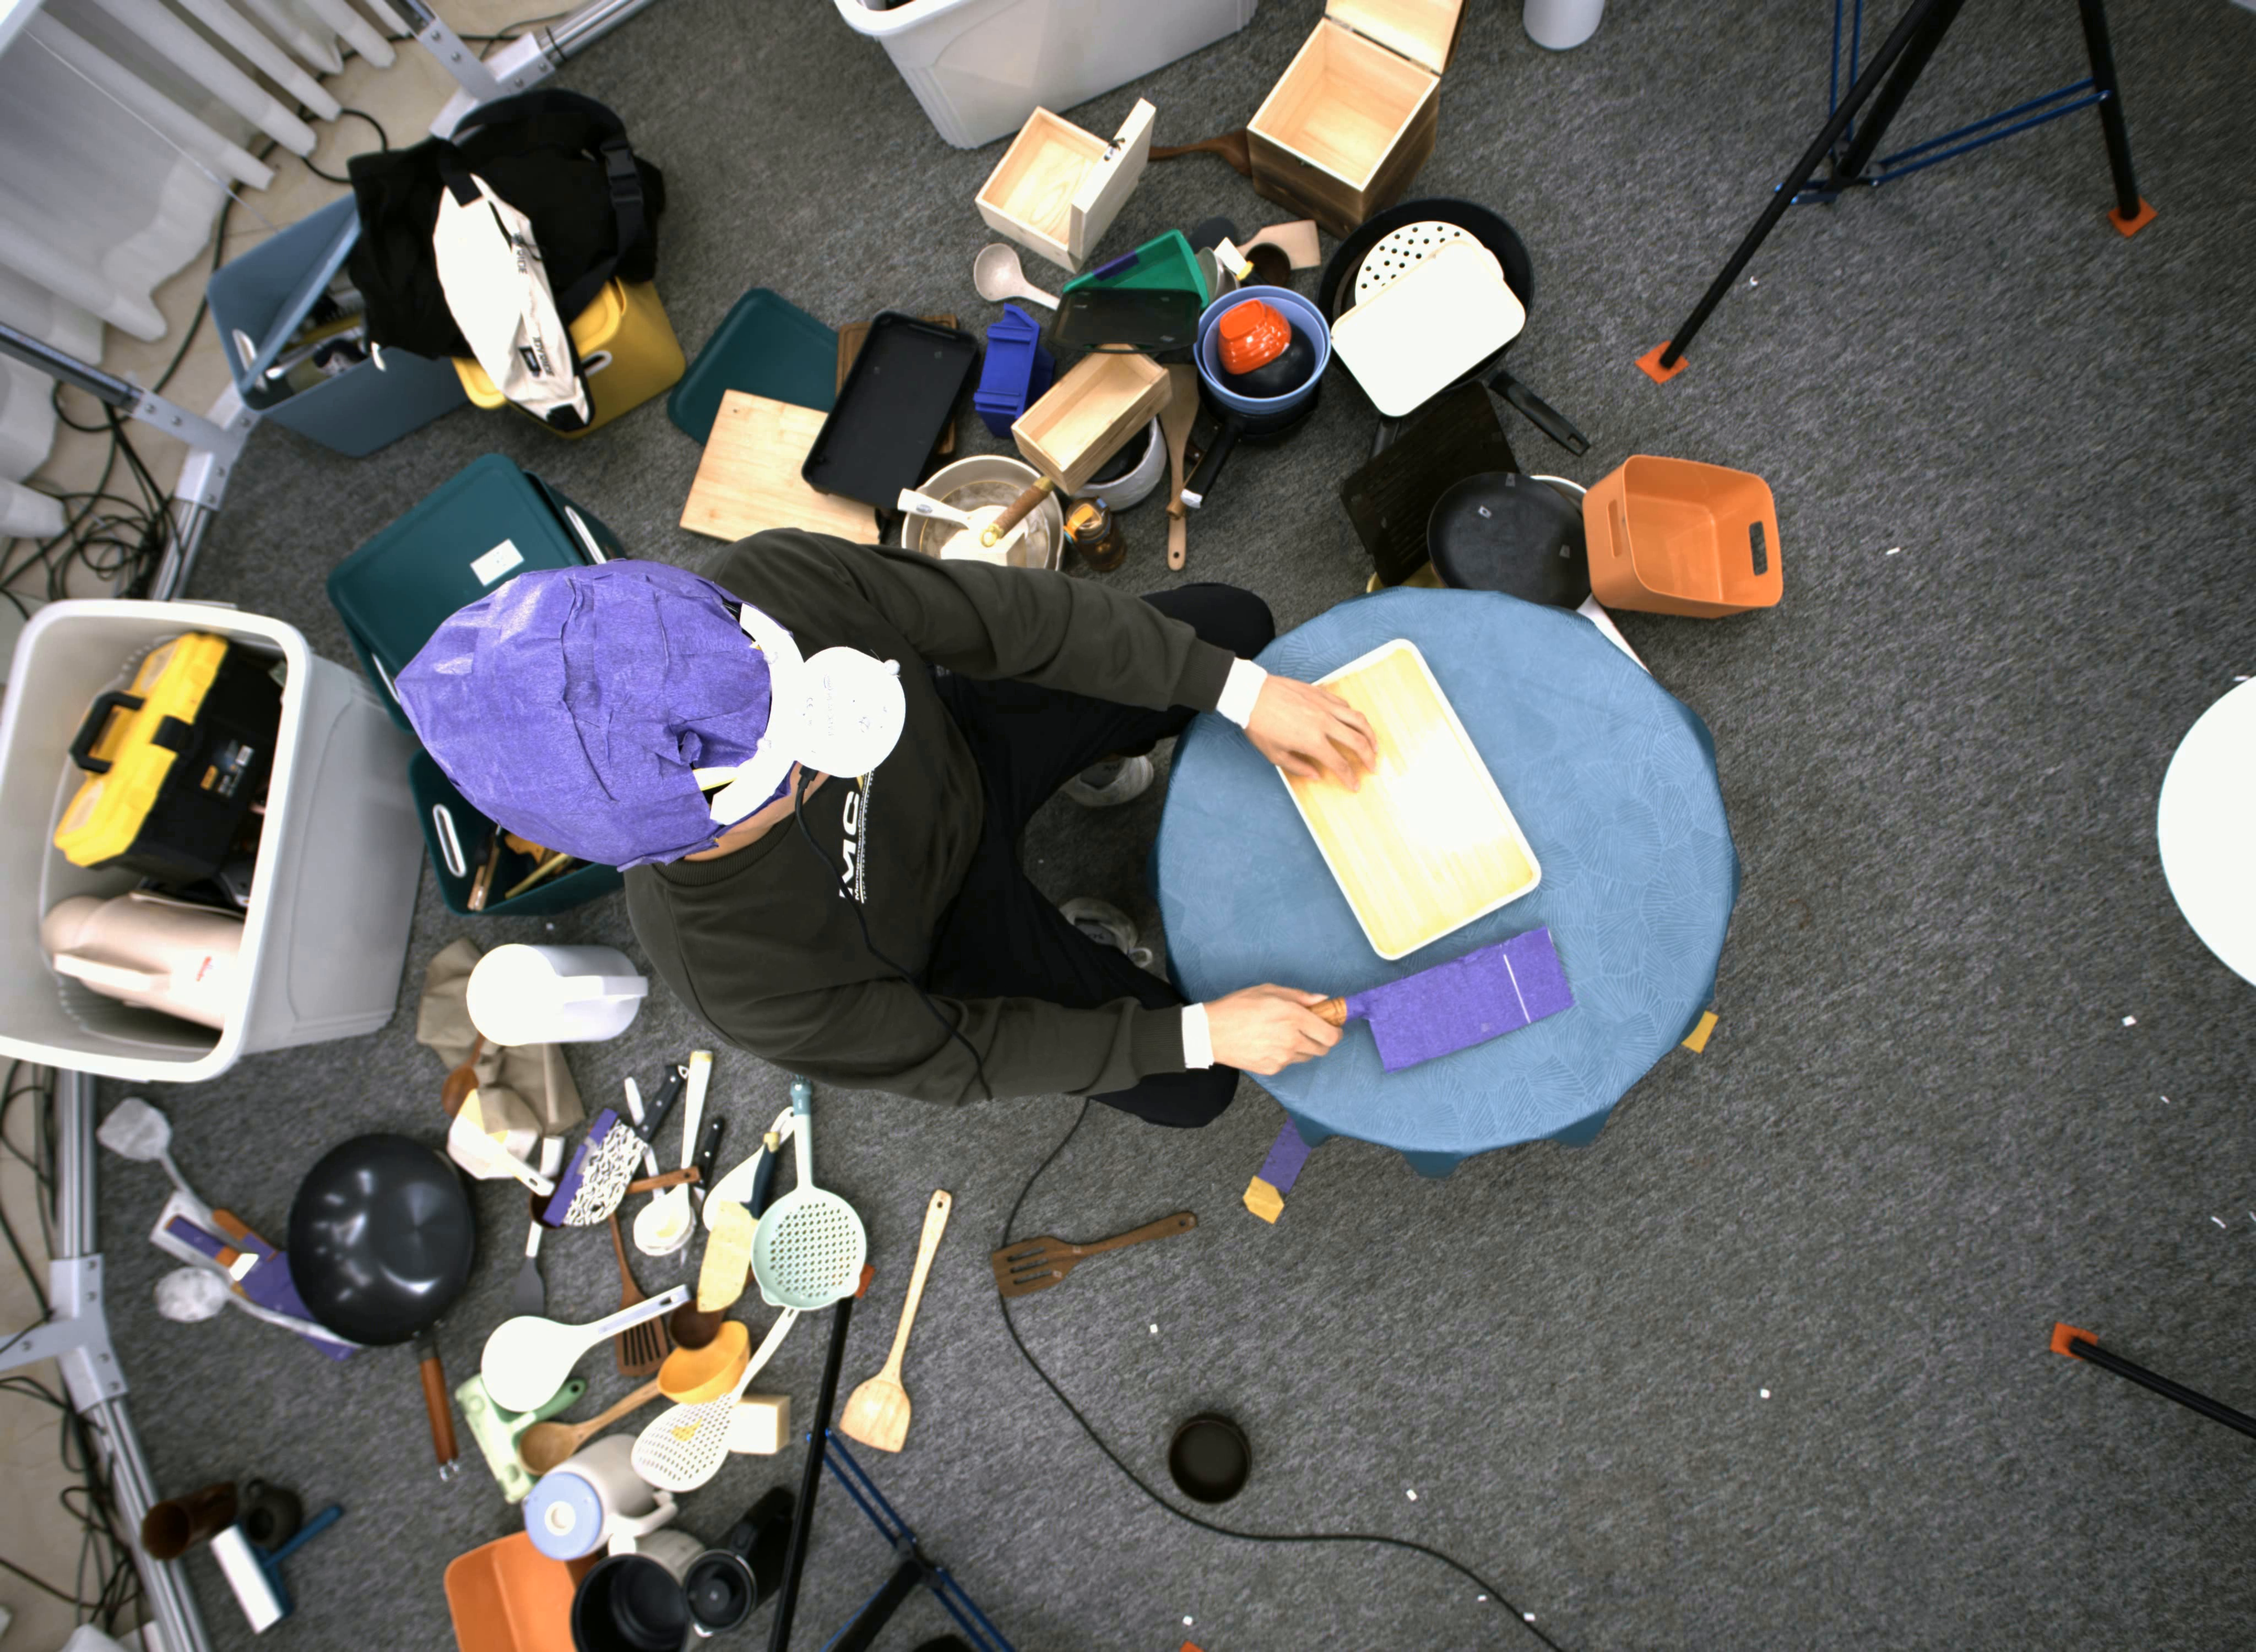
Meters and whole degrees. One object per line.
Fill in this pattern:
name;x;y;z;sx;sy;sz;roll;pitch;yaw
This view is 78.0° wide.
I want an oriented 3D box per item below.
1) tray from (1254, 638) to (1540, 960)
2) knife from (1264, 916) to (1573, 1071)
tray;0.280;-0.030;1.449;0.192;0.027;0.298;-28;82;7
knife;0.301;0.192;1.412;0.316;0.032;0.104;-21;94;4
